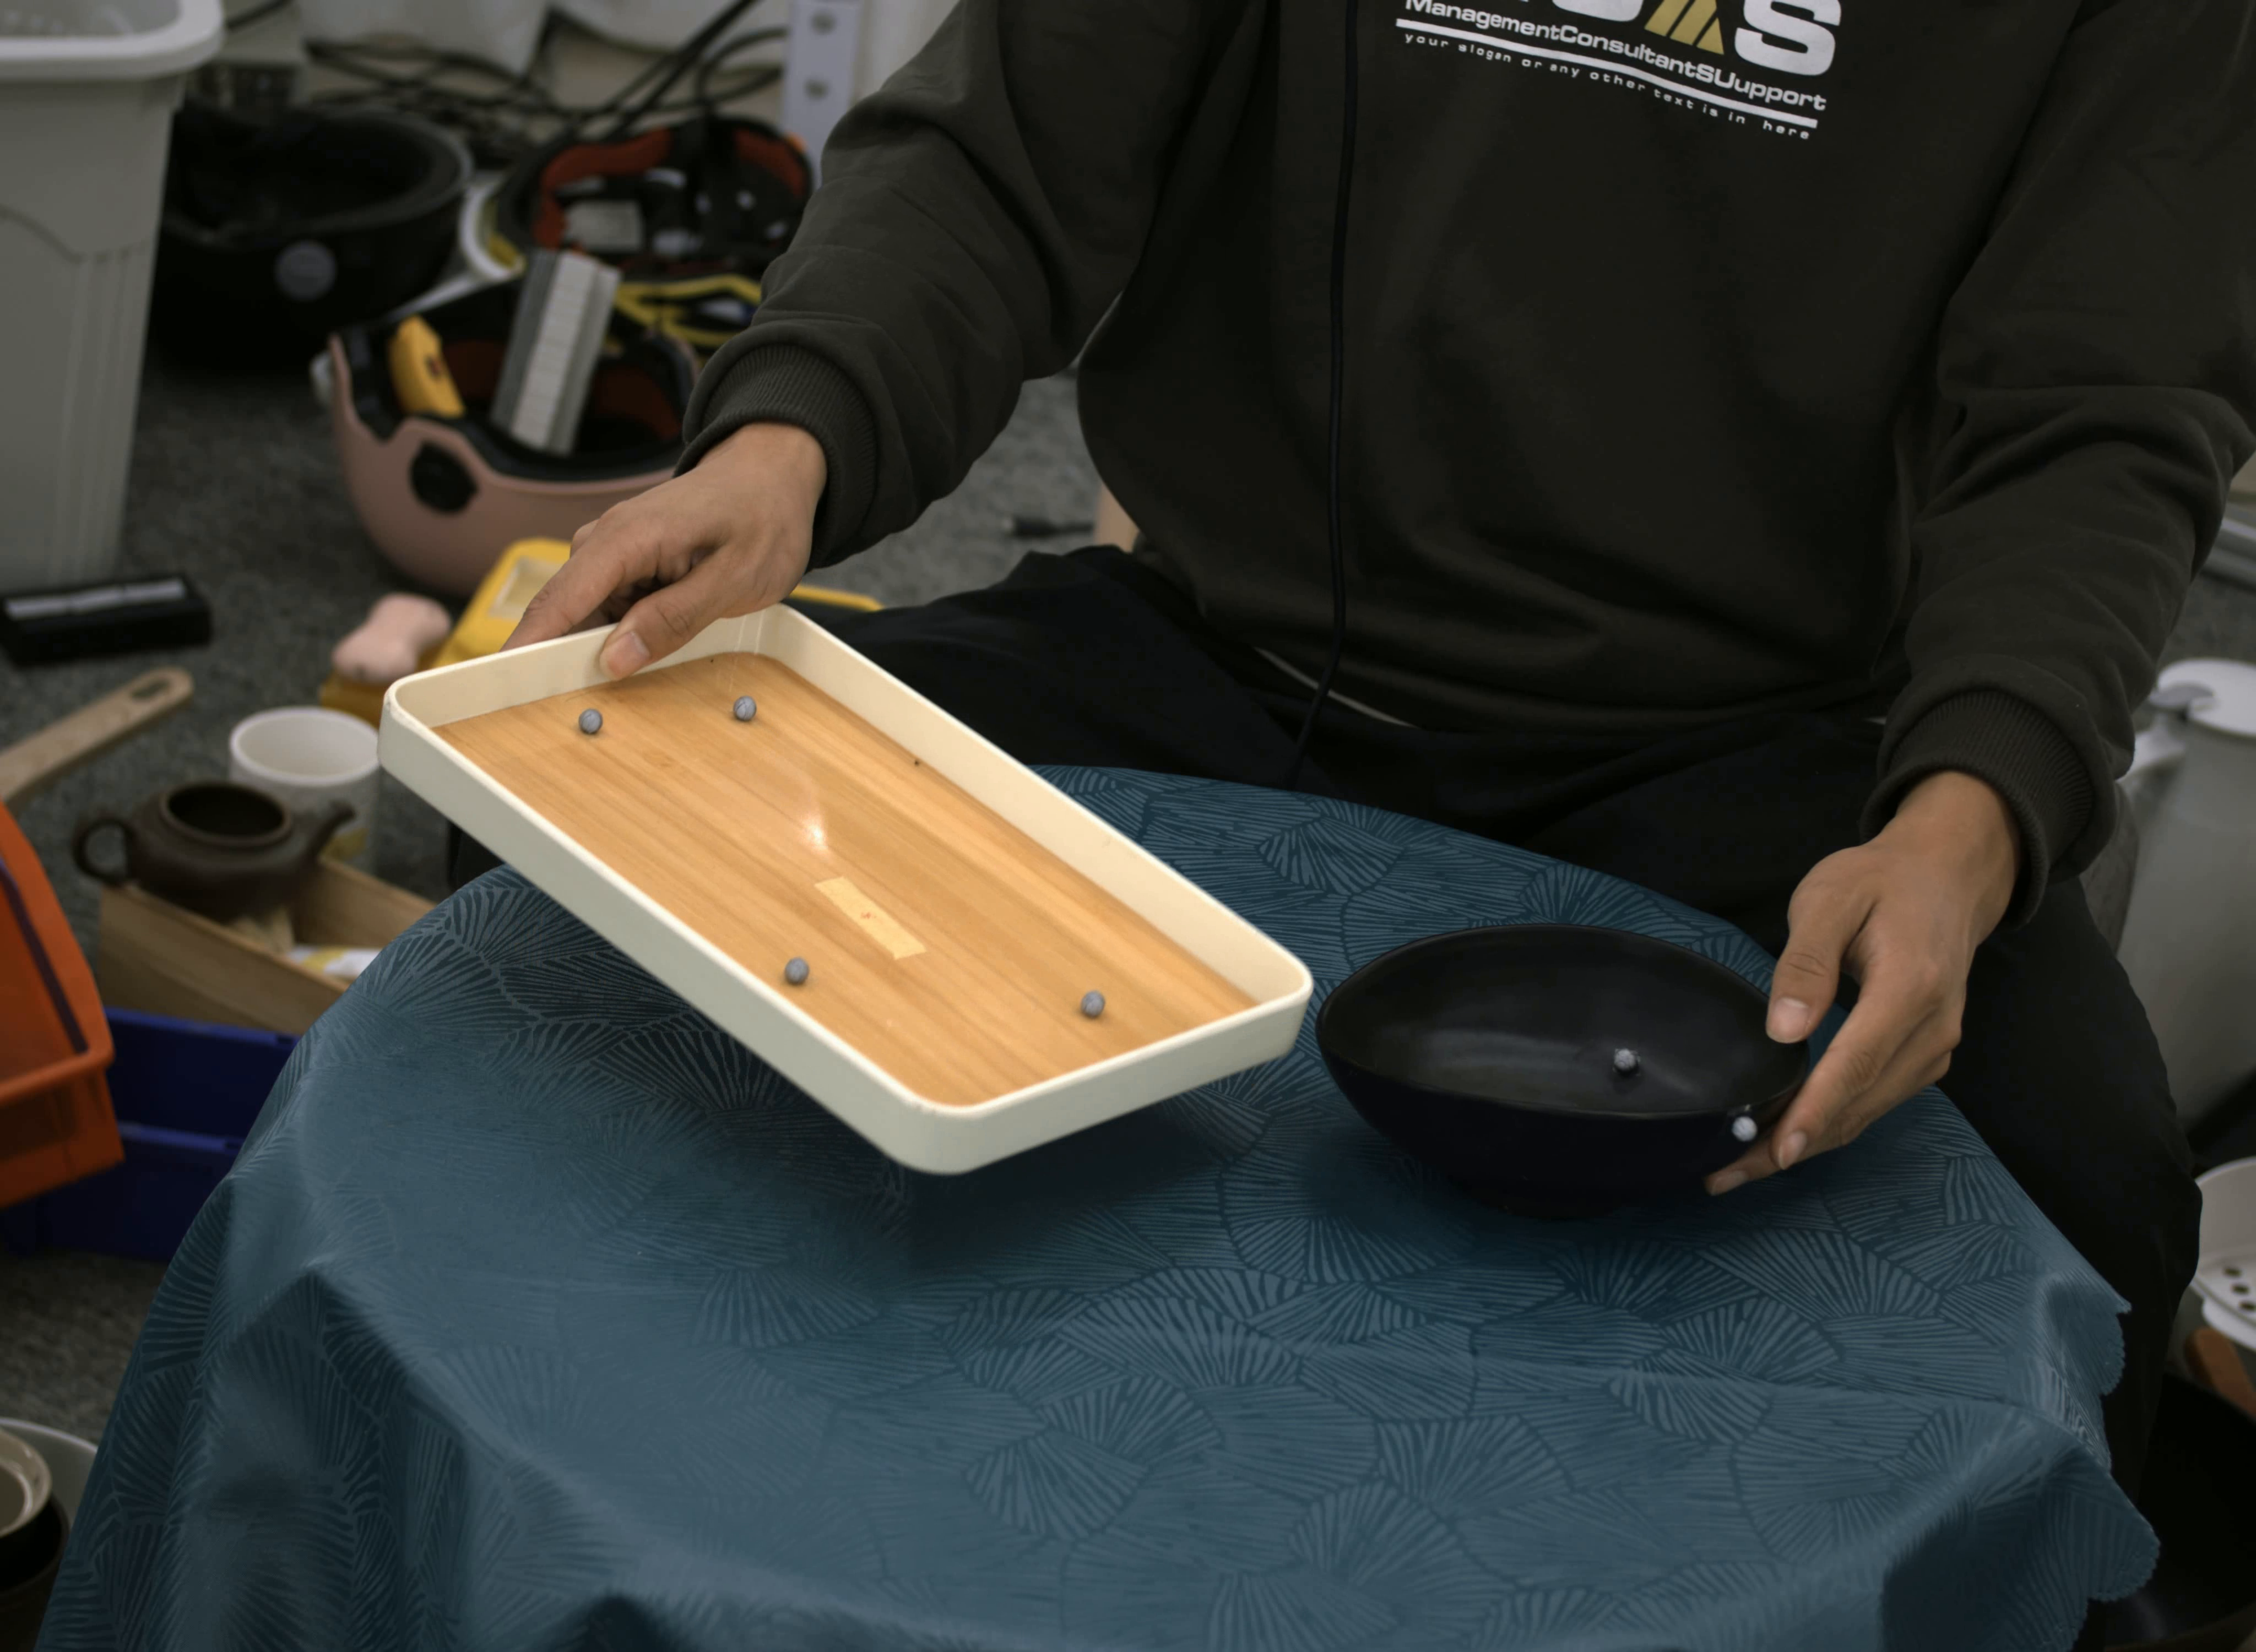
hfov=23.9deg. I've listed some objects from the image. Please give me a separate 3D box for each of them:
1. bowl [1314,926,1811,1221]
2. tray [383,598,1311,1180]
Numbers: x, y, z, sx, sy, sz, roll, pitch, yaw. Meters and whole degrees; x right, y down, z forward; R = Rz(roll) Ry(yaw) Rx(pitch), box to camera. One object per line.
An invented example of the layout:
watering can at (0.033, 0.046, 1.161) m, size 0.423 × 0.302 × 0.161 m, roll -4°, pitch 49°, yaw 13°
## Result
bowl at (0.148, 0.094, 1.833) m, size 0.170 × 0.066 × 0.138 m, roll 4°, pitch 25°, yaw 0°
tray at (-0.100, 0.016, 1.844) m, size 0.190 × 0.027 × 0.302 m, roll -17°, pitch 42°, yaw -43°
